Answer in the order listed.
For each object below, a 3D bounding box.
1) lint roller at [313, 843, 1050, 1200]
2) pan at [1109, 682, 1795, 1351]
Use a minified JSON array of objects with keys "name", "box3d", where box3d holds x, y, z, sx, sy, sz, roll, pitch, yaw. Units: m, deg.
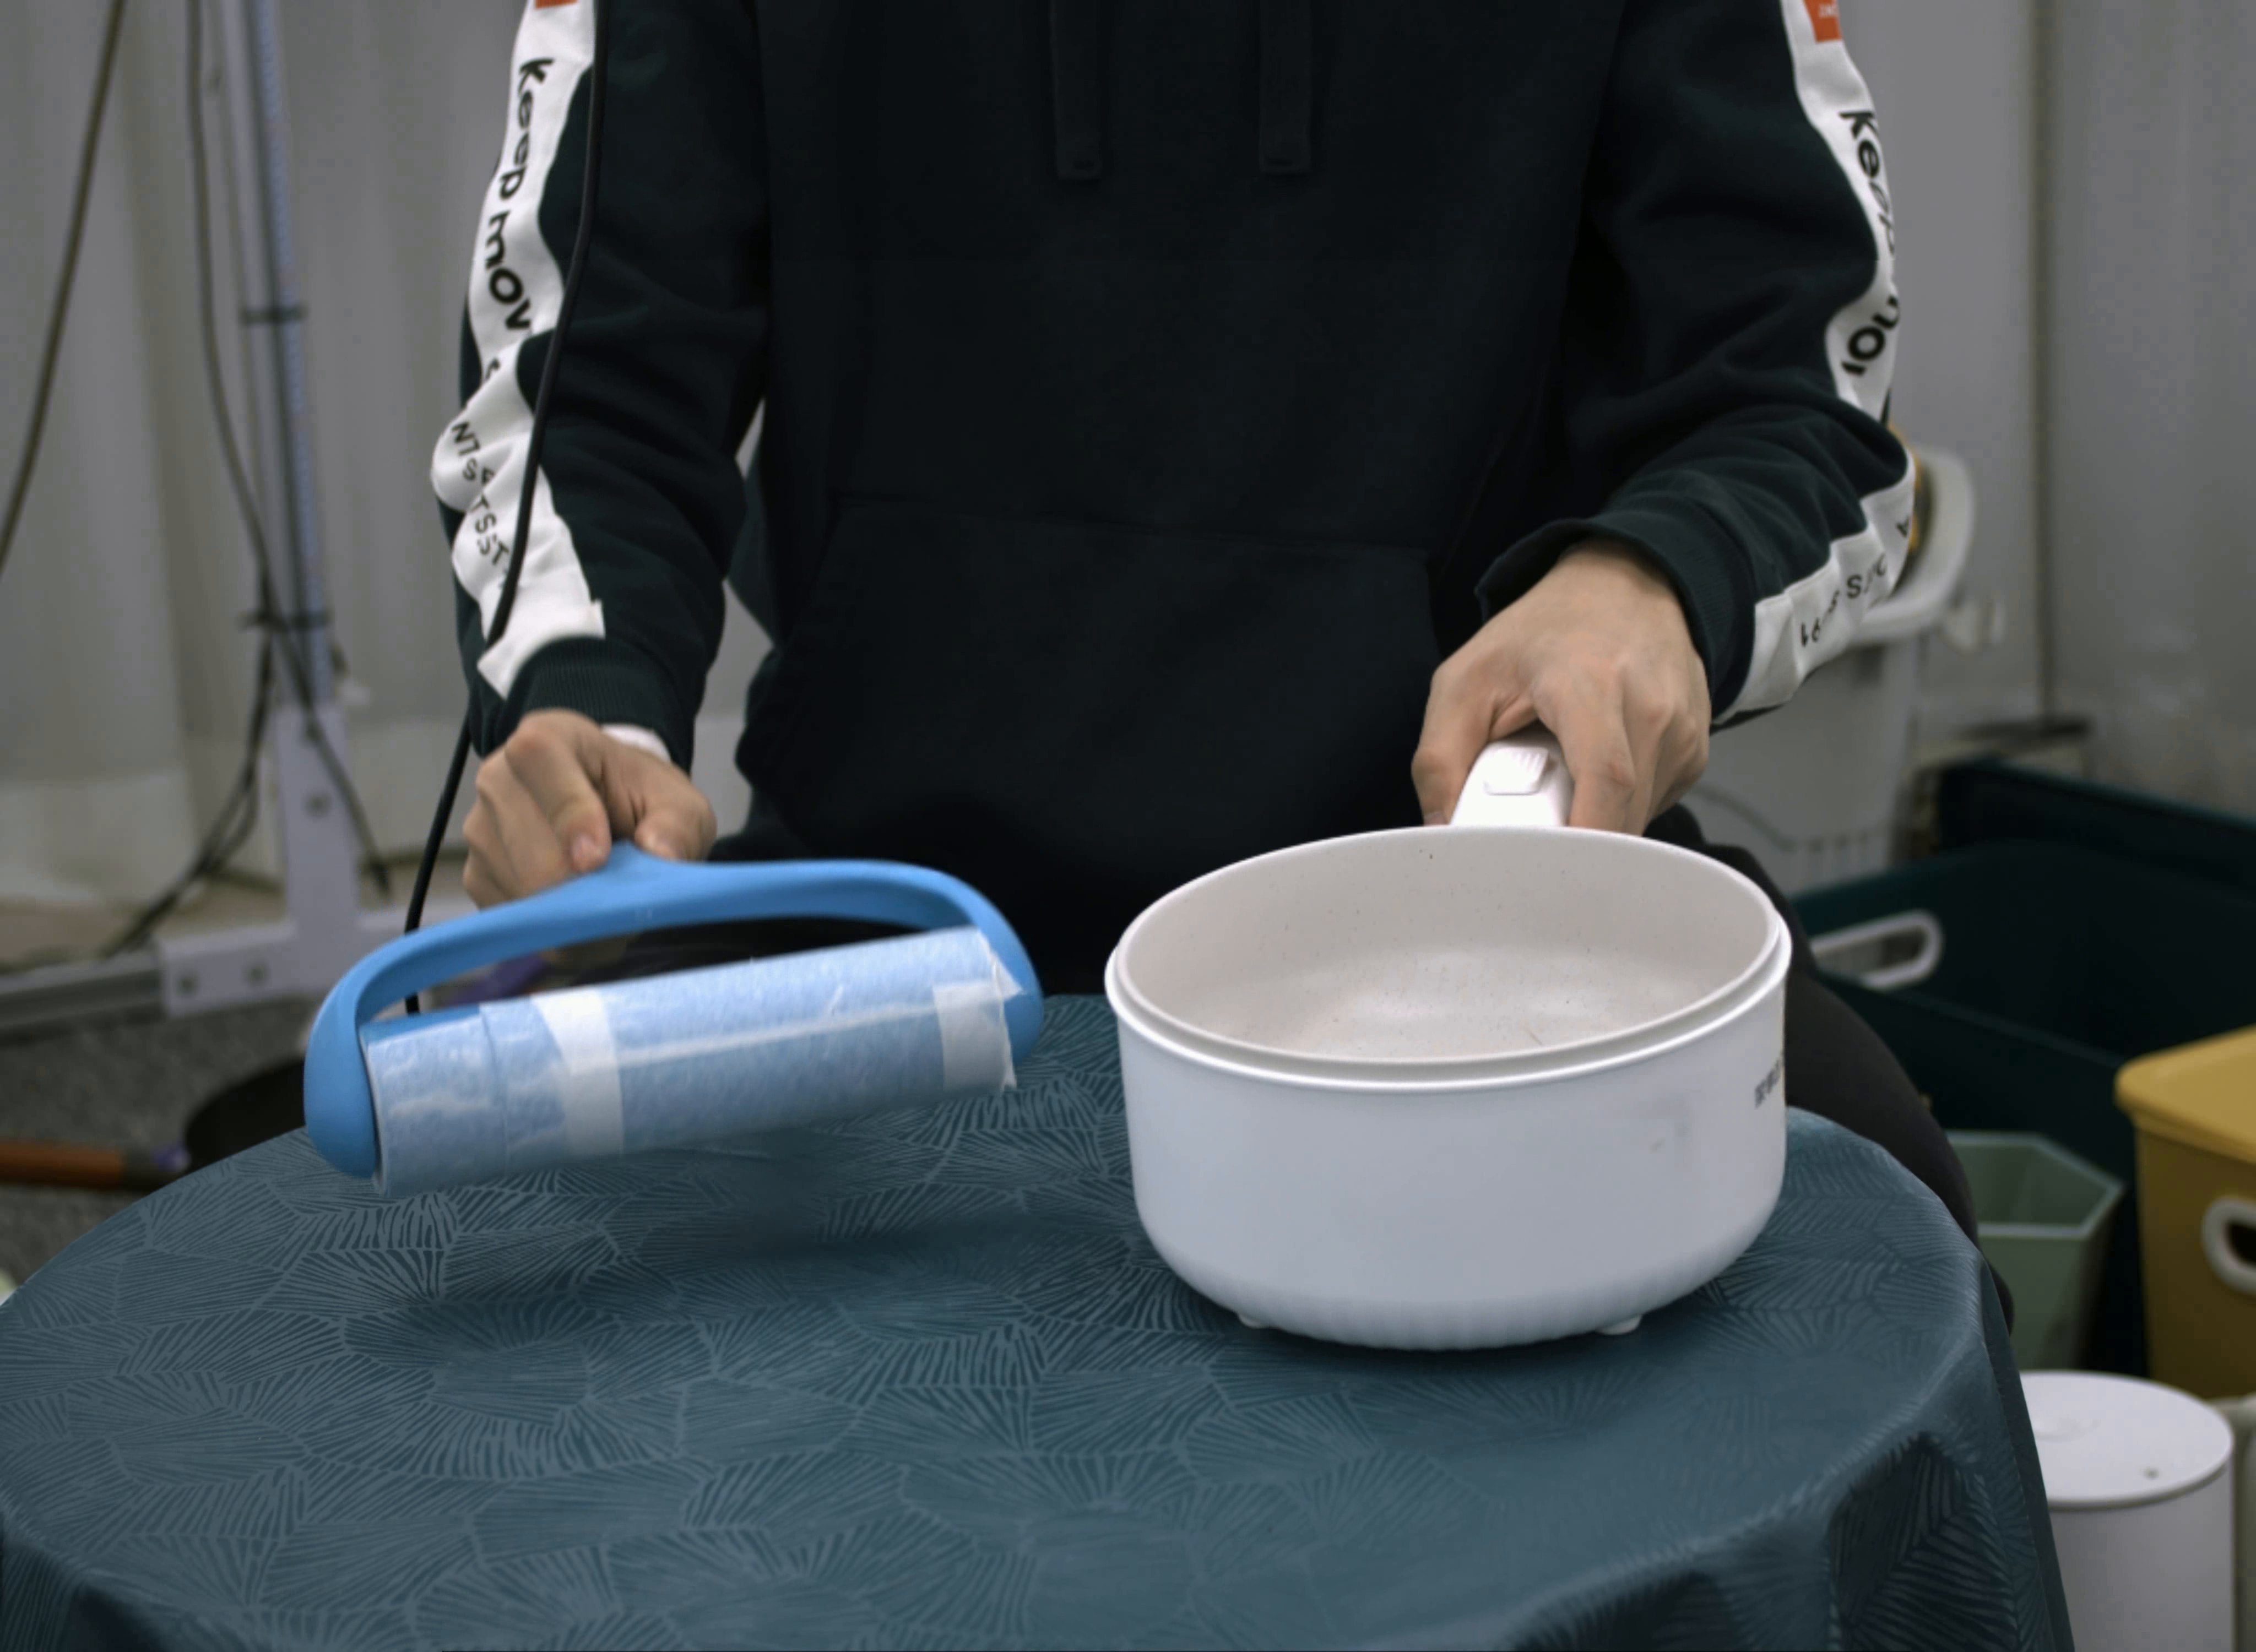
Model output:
[{"name":"lint roller","box3d":[-0.154,0.041,1.708,0.228,0.067,0.182,-12,32,-17]},{"name":"pan","box3d":[0.113,0.054,1.686,0.201,0.101,0.357,0,19,12]}]
